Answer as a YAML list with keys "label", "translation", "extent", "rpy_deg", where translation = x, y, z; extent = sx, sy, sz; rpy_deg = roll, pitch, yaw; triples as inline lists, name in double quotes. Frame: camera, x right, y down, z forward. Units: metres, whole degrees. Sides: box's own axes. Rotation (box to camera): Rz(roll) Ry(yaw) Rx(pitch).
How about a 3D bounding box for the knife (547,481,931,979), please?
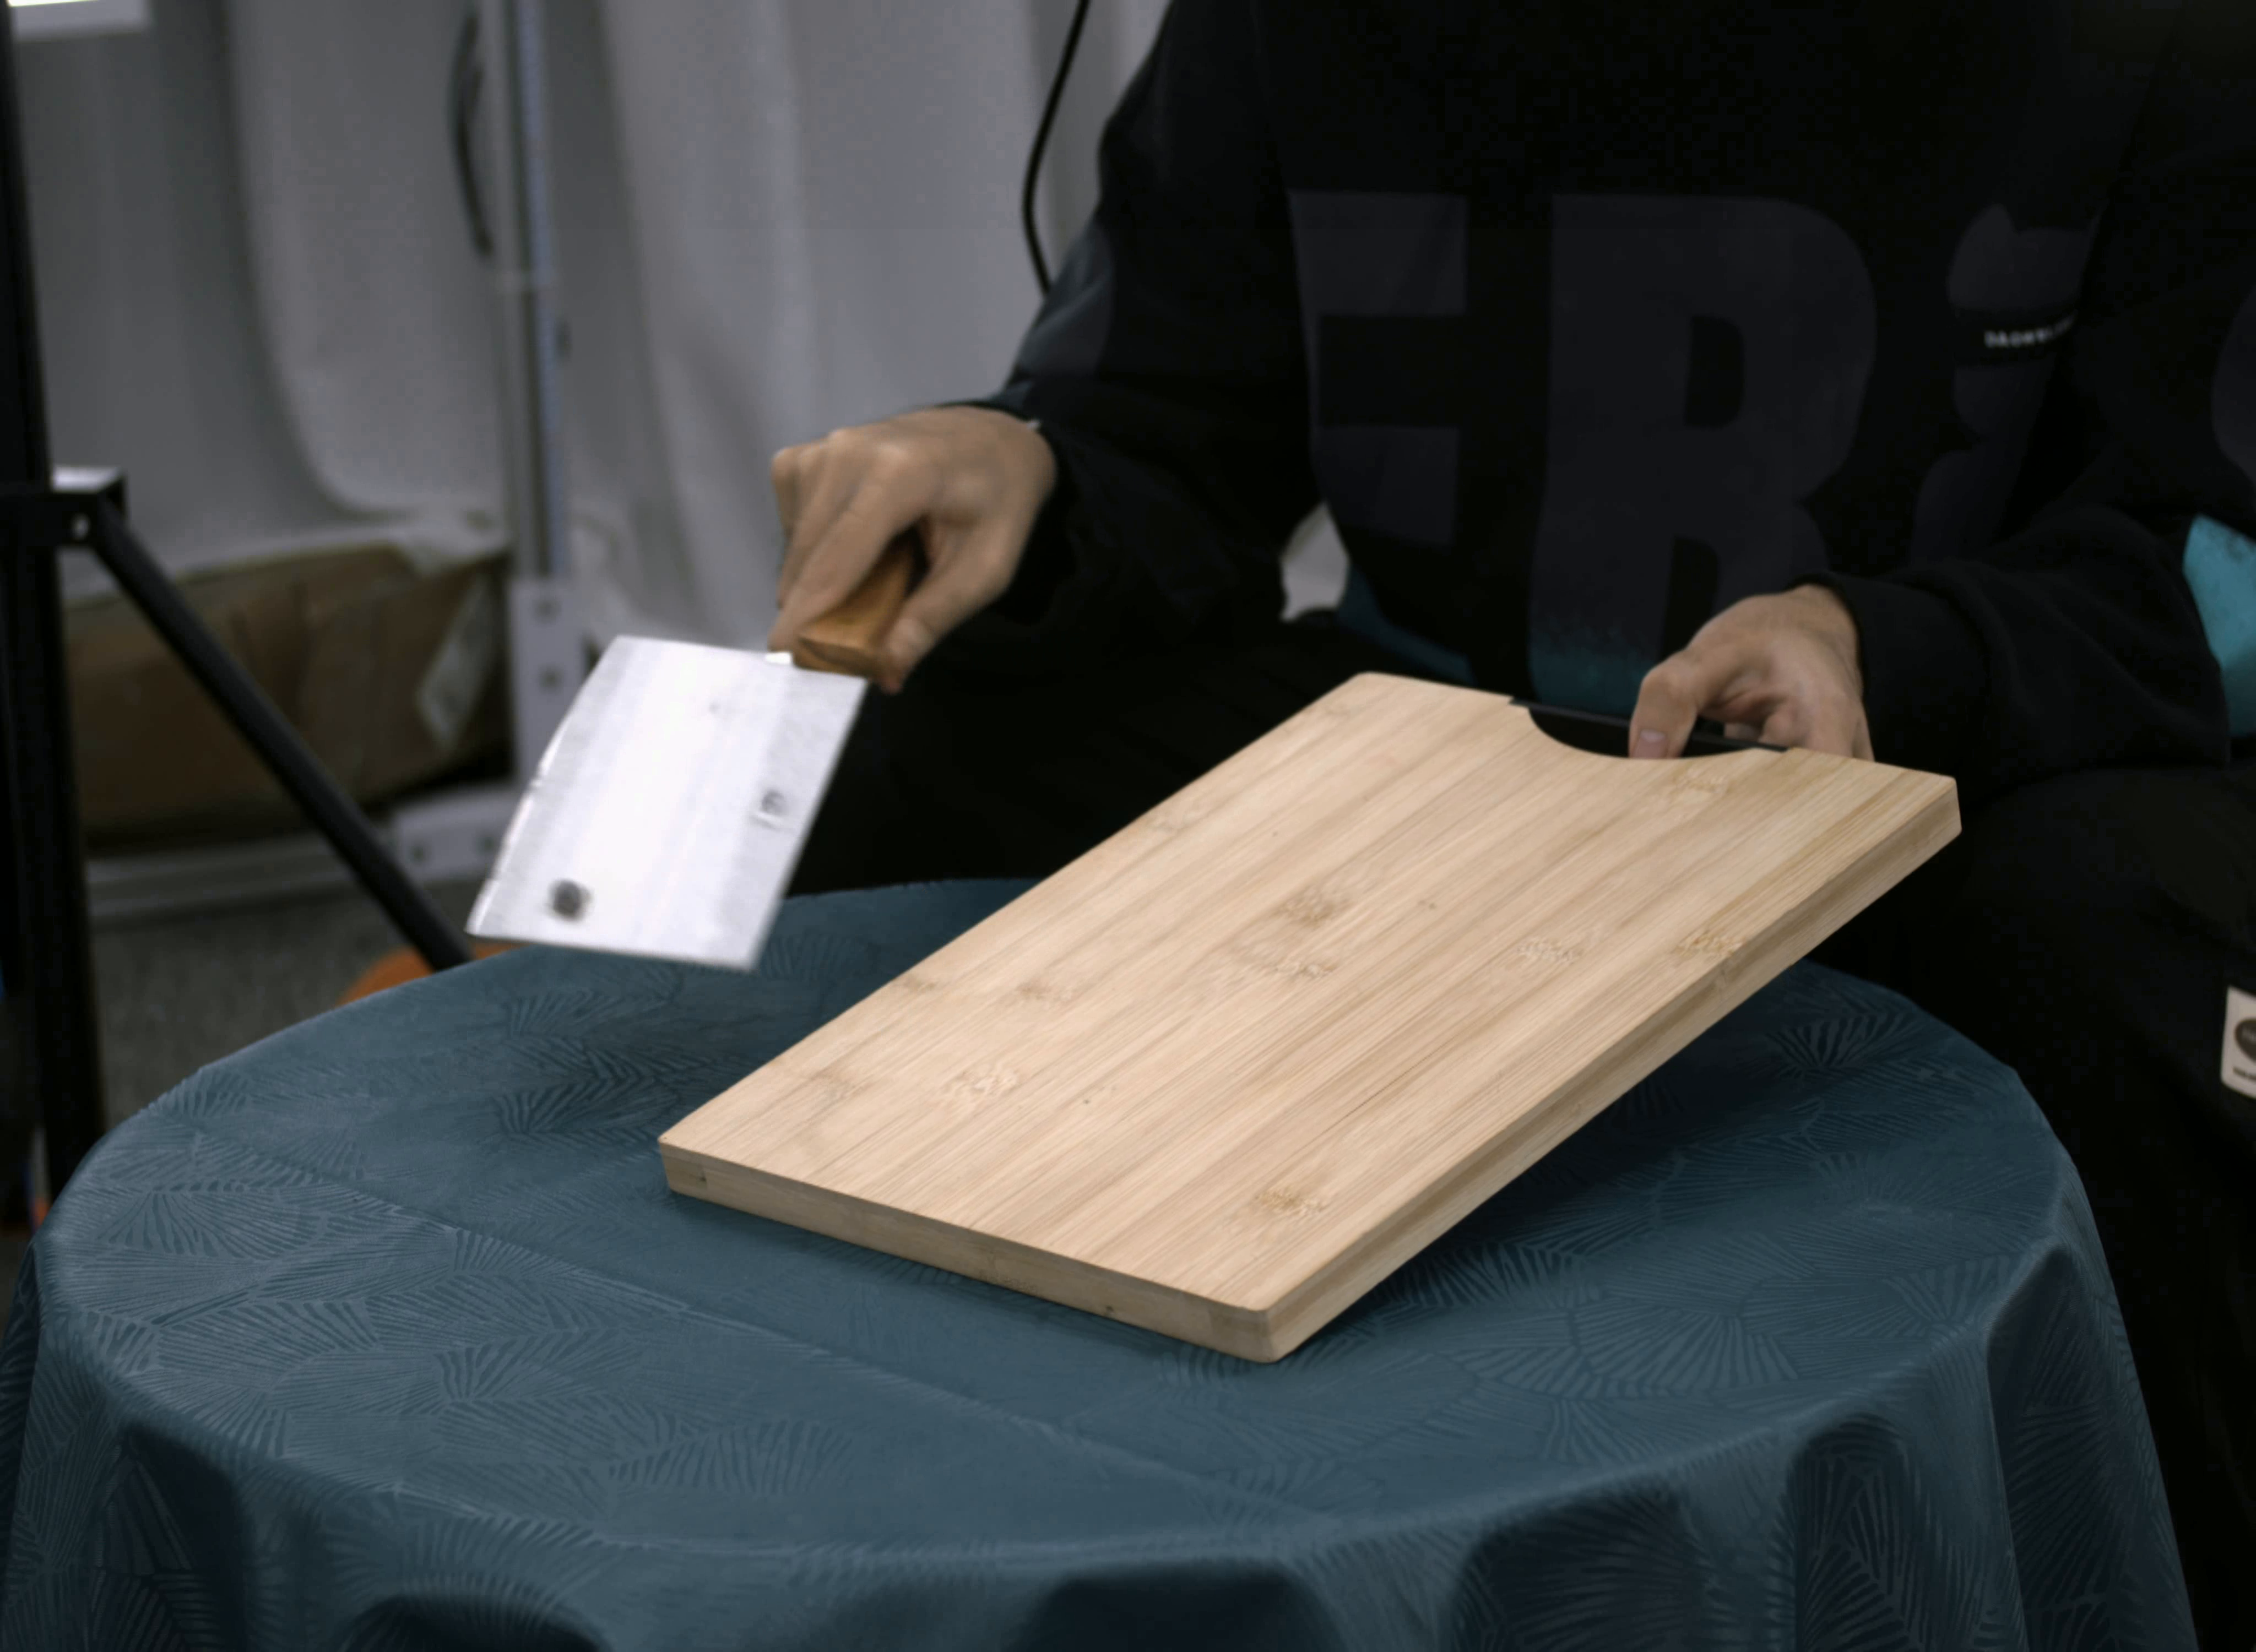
- label: "knife"
  translation: [-0.127, -0.038, 1.757]
  extent: [0.093, 0.021, 0.306]
  rpy_deg: [7, 33, 5]

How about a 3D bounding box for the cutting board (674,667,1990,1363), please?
- label: "cutting board"
  translation: [0.063, 0.046, 1.602]
  extent: [0.256, 0.023, 0.343]
  rpy_deg: [11, 33, 41]
